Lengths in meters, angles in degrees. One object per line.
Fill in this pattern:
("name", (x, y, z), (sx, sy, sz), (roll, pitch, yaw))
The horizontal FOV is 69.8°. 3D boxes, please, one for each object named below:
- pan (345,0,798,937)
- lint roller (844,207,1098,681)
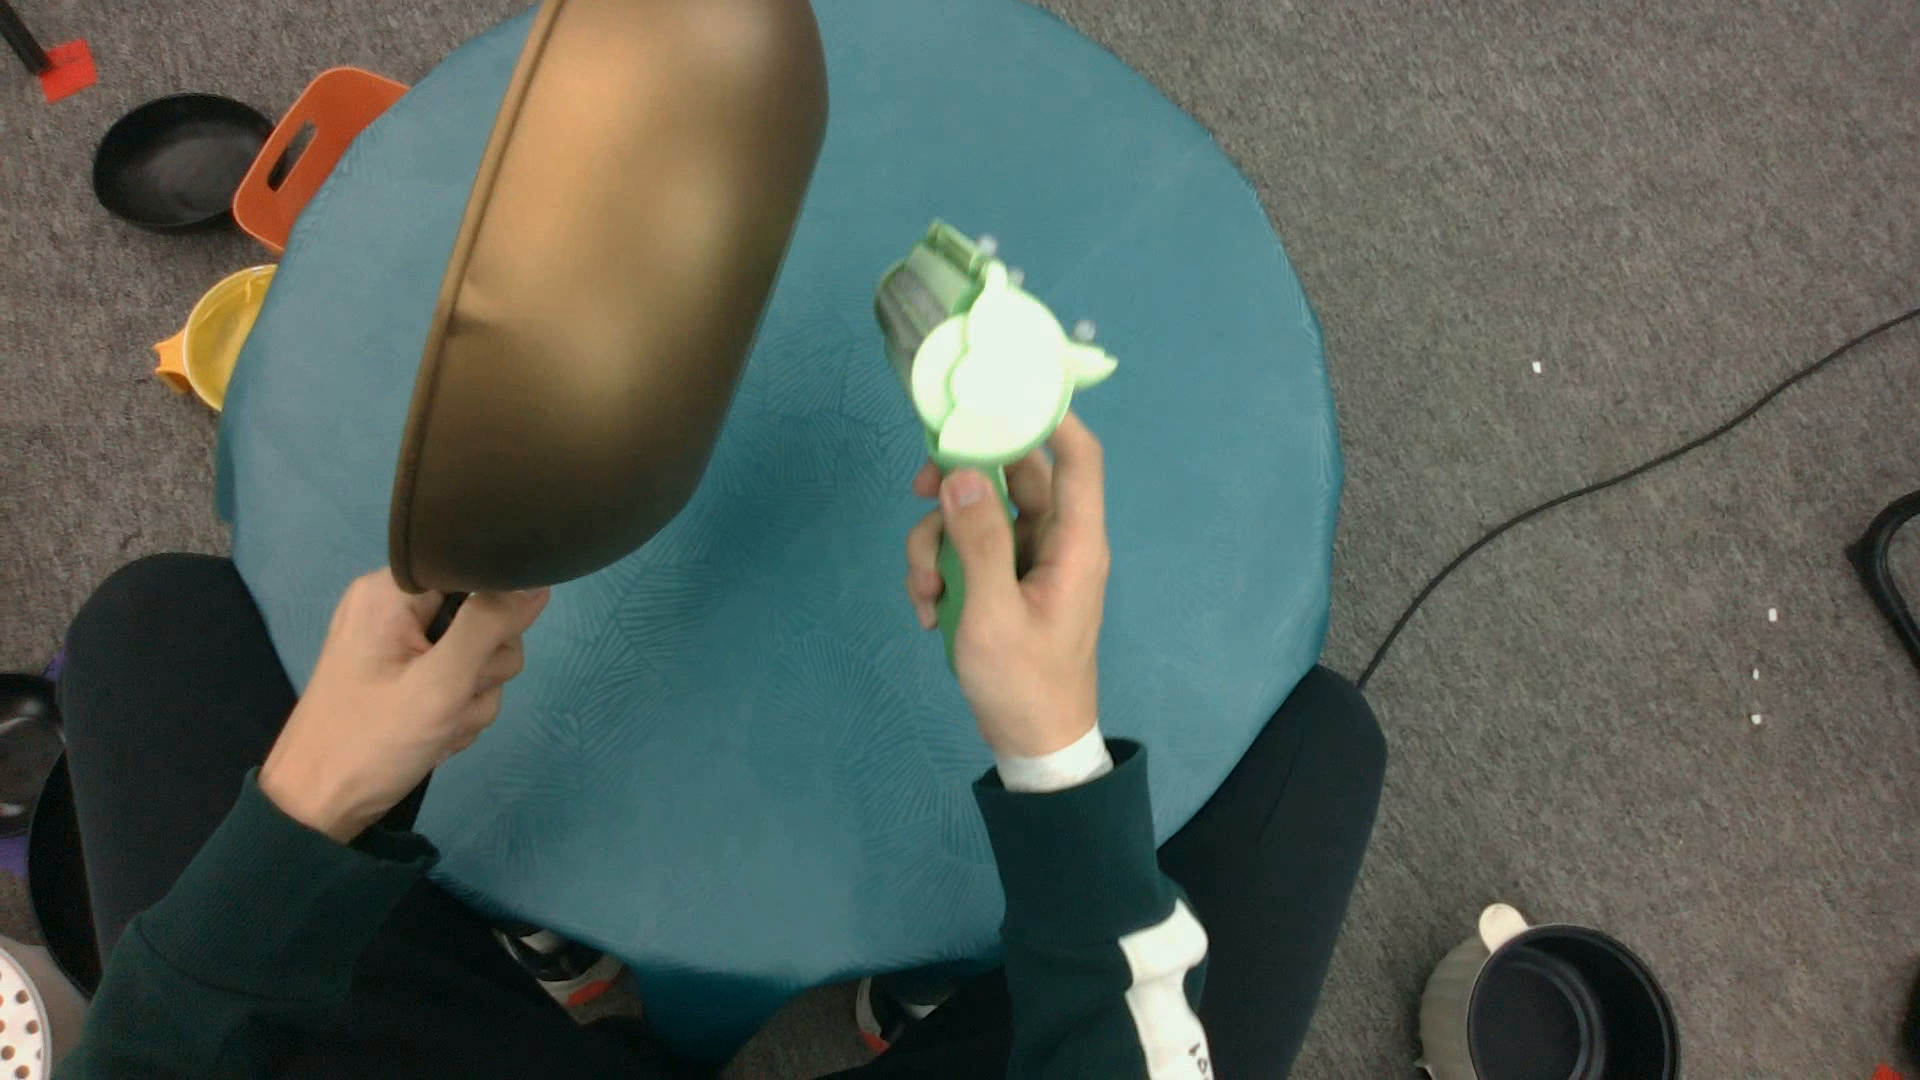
("pan", (-0.153, -0.022, 0.532), (0.087, 0.289, 0.462), (18, 108, -10))
("lint roller", (0.011, -0.035, 0.543), (0.082, 0.199, 0.183), (-17, 109, -4))
